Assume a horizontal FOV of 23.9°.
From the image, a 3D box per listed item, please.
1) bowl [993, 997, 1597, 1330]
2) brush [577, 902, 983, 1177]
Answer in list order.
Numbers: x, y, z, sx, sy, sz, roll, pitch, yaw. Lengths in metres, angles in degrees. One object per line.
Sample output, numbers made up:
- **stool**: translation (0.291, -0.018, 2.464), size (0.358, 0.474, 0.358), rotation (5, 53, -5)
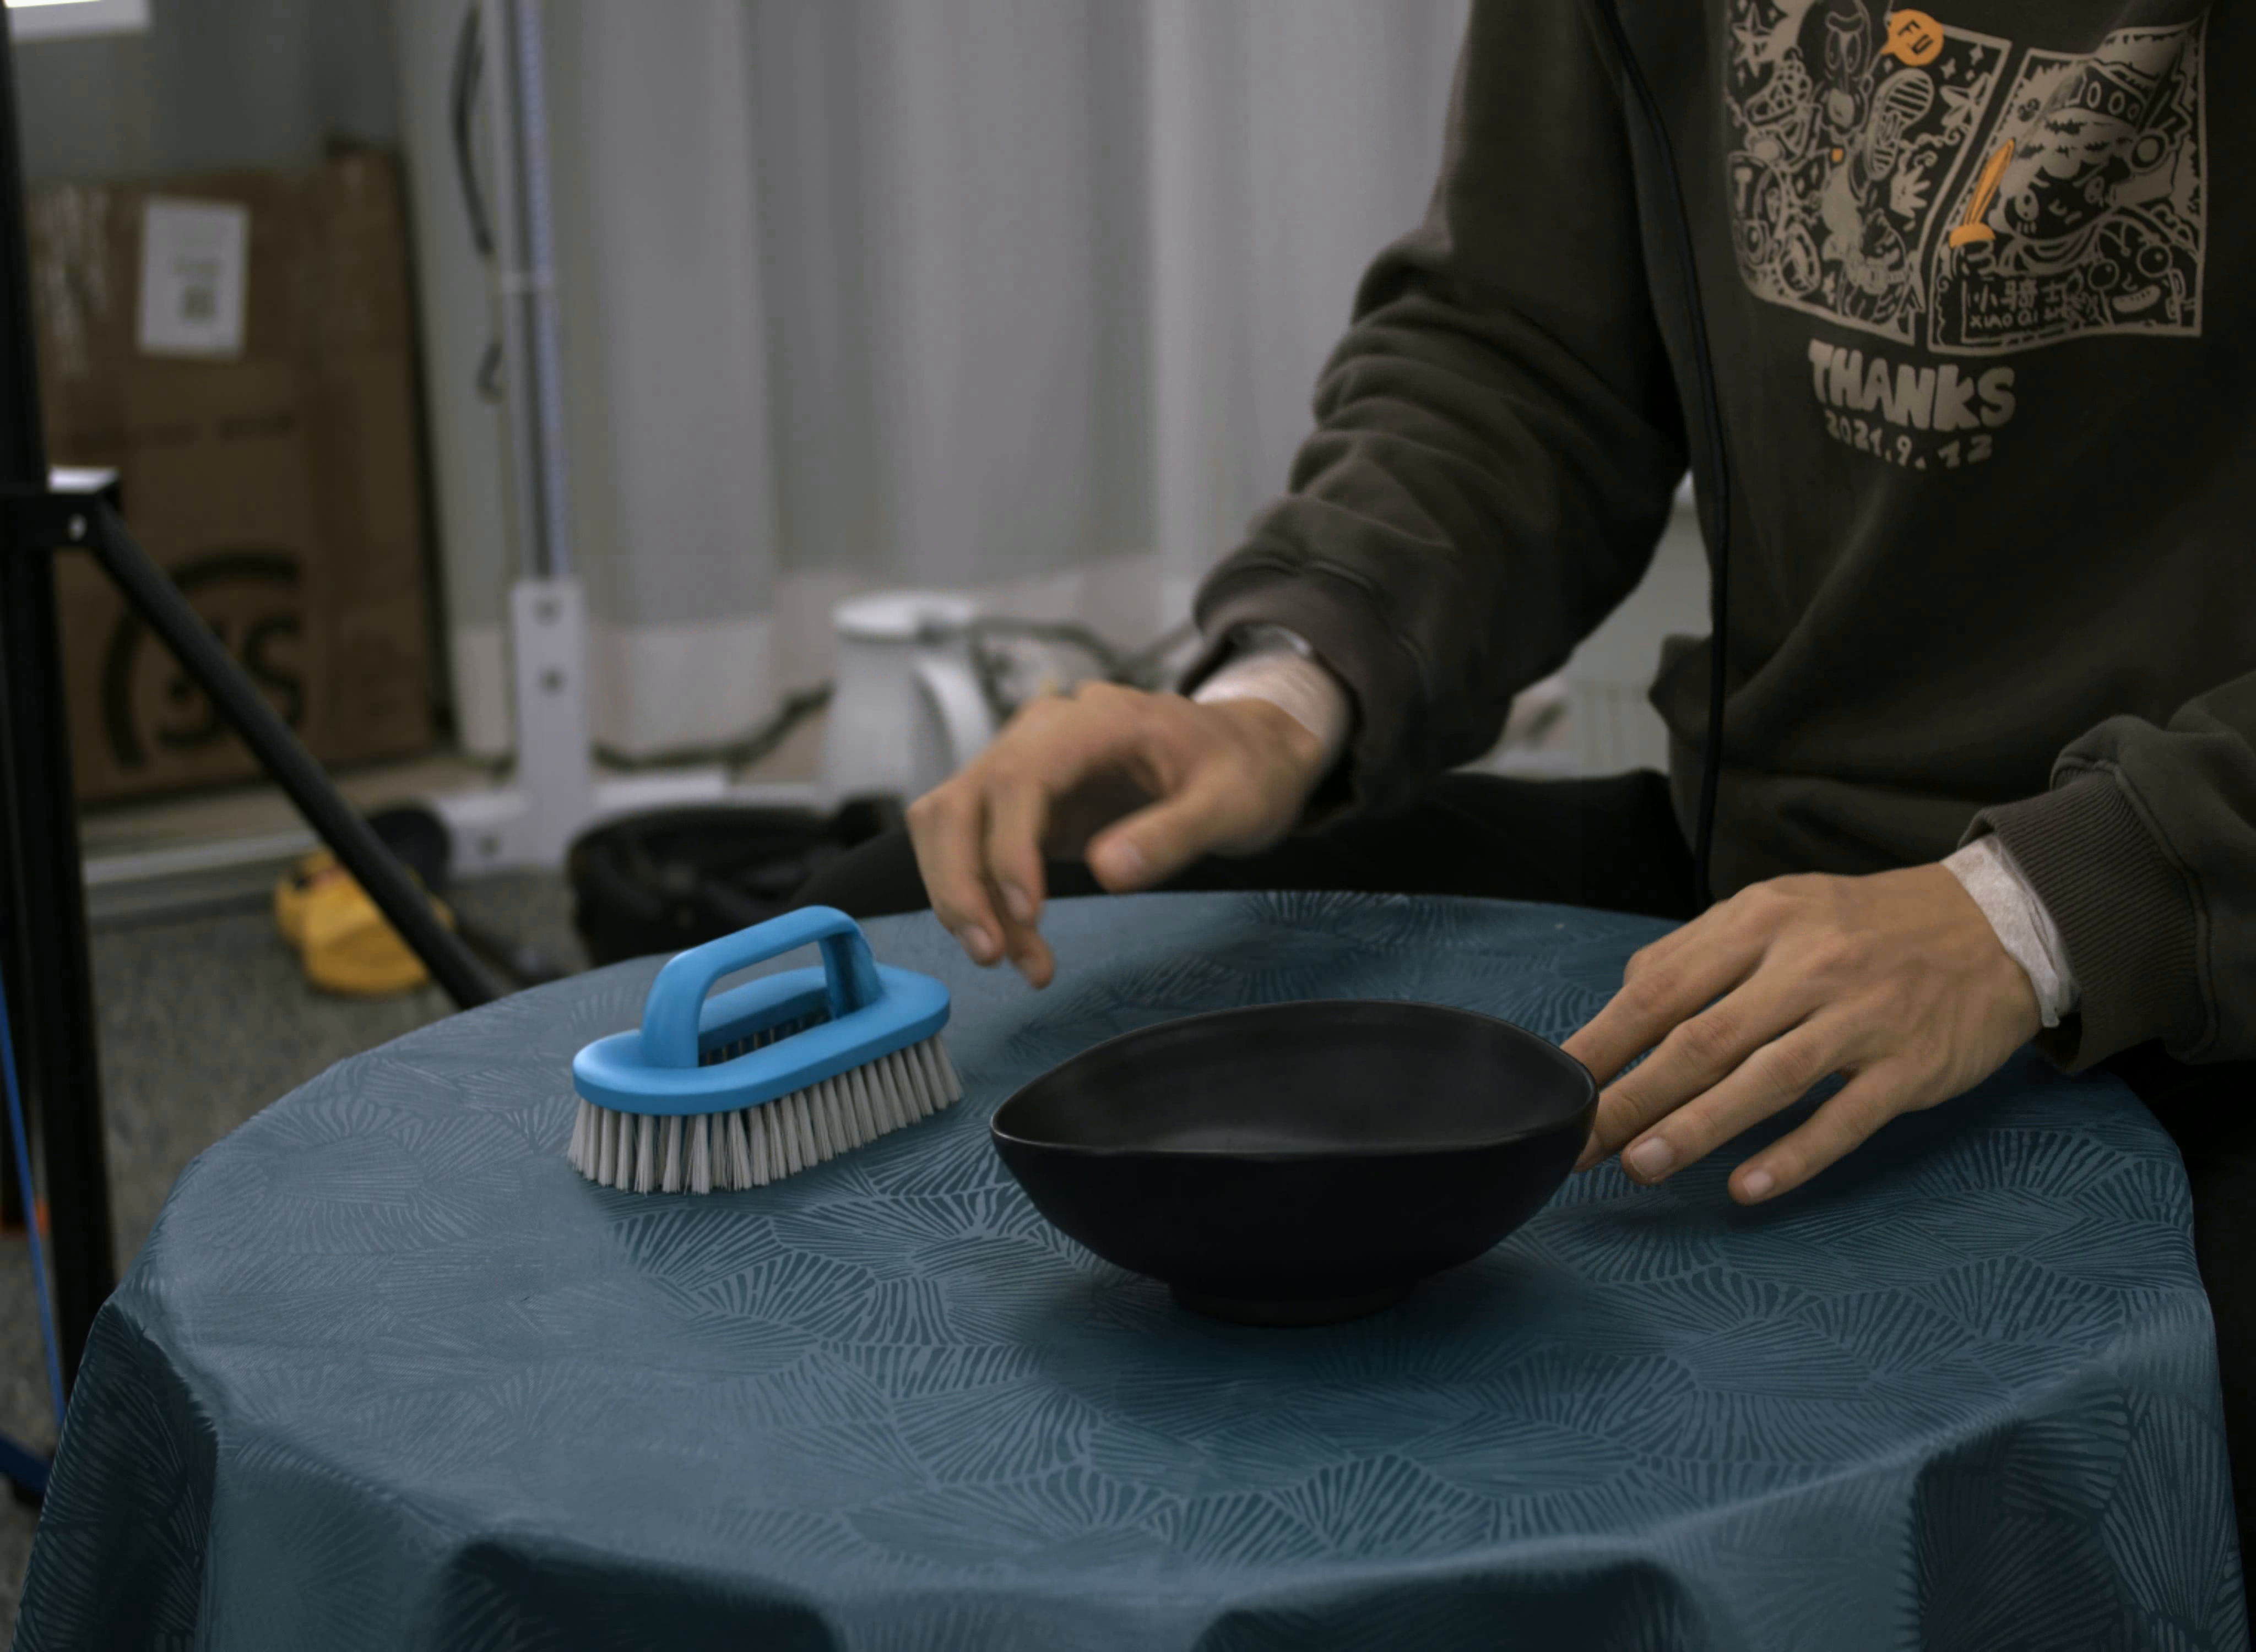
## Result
- **bowl**: translation (0.046, 0.099, 1.471), size (0.171, 0.067, 0.137), rotation (-1, 15, 10)
- **brush**: translation (-0.110, 0.060, 1.630), size (0.086, 0.064, 0.138), rotation (5, 16, 42)
